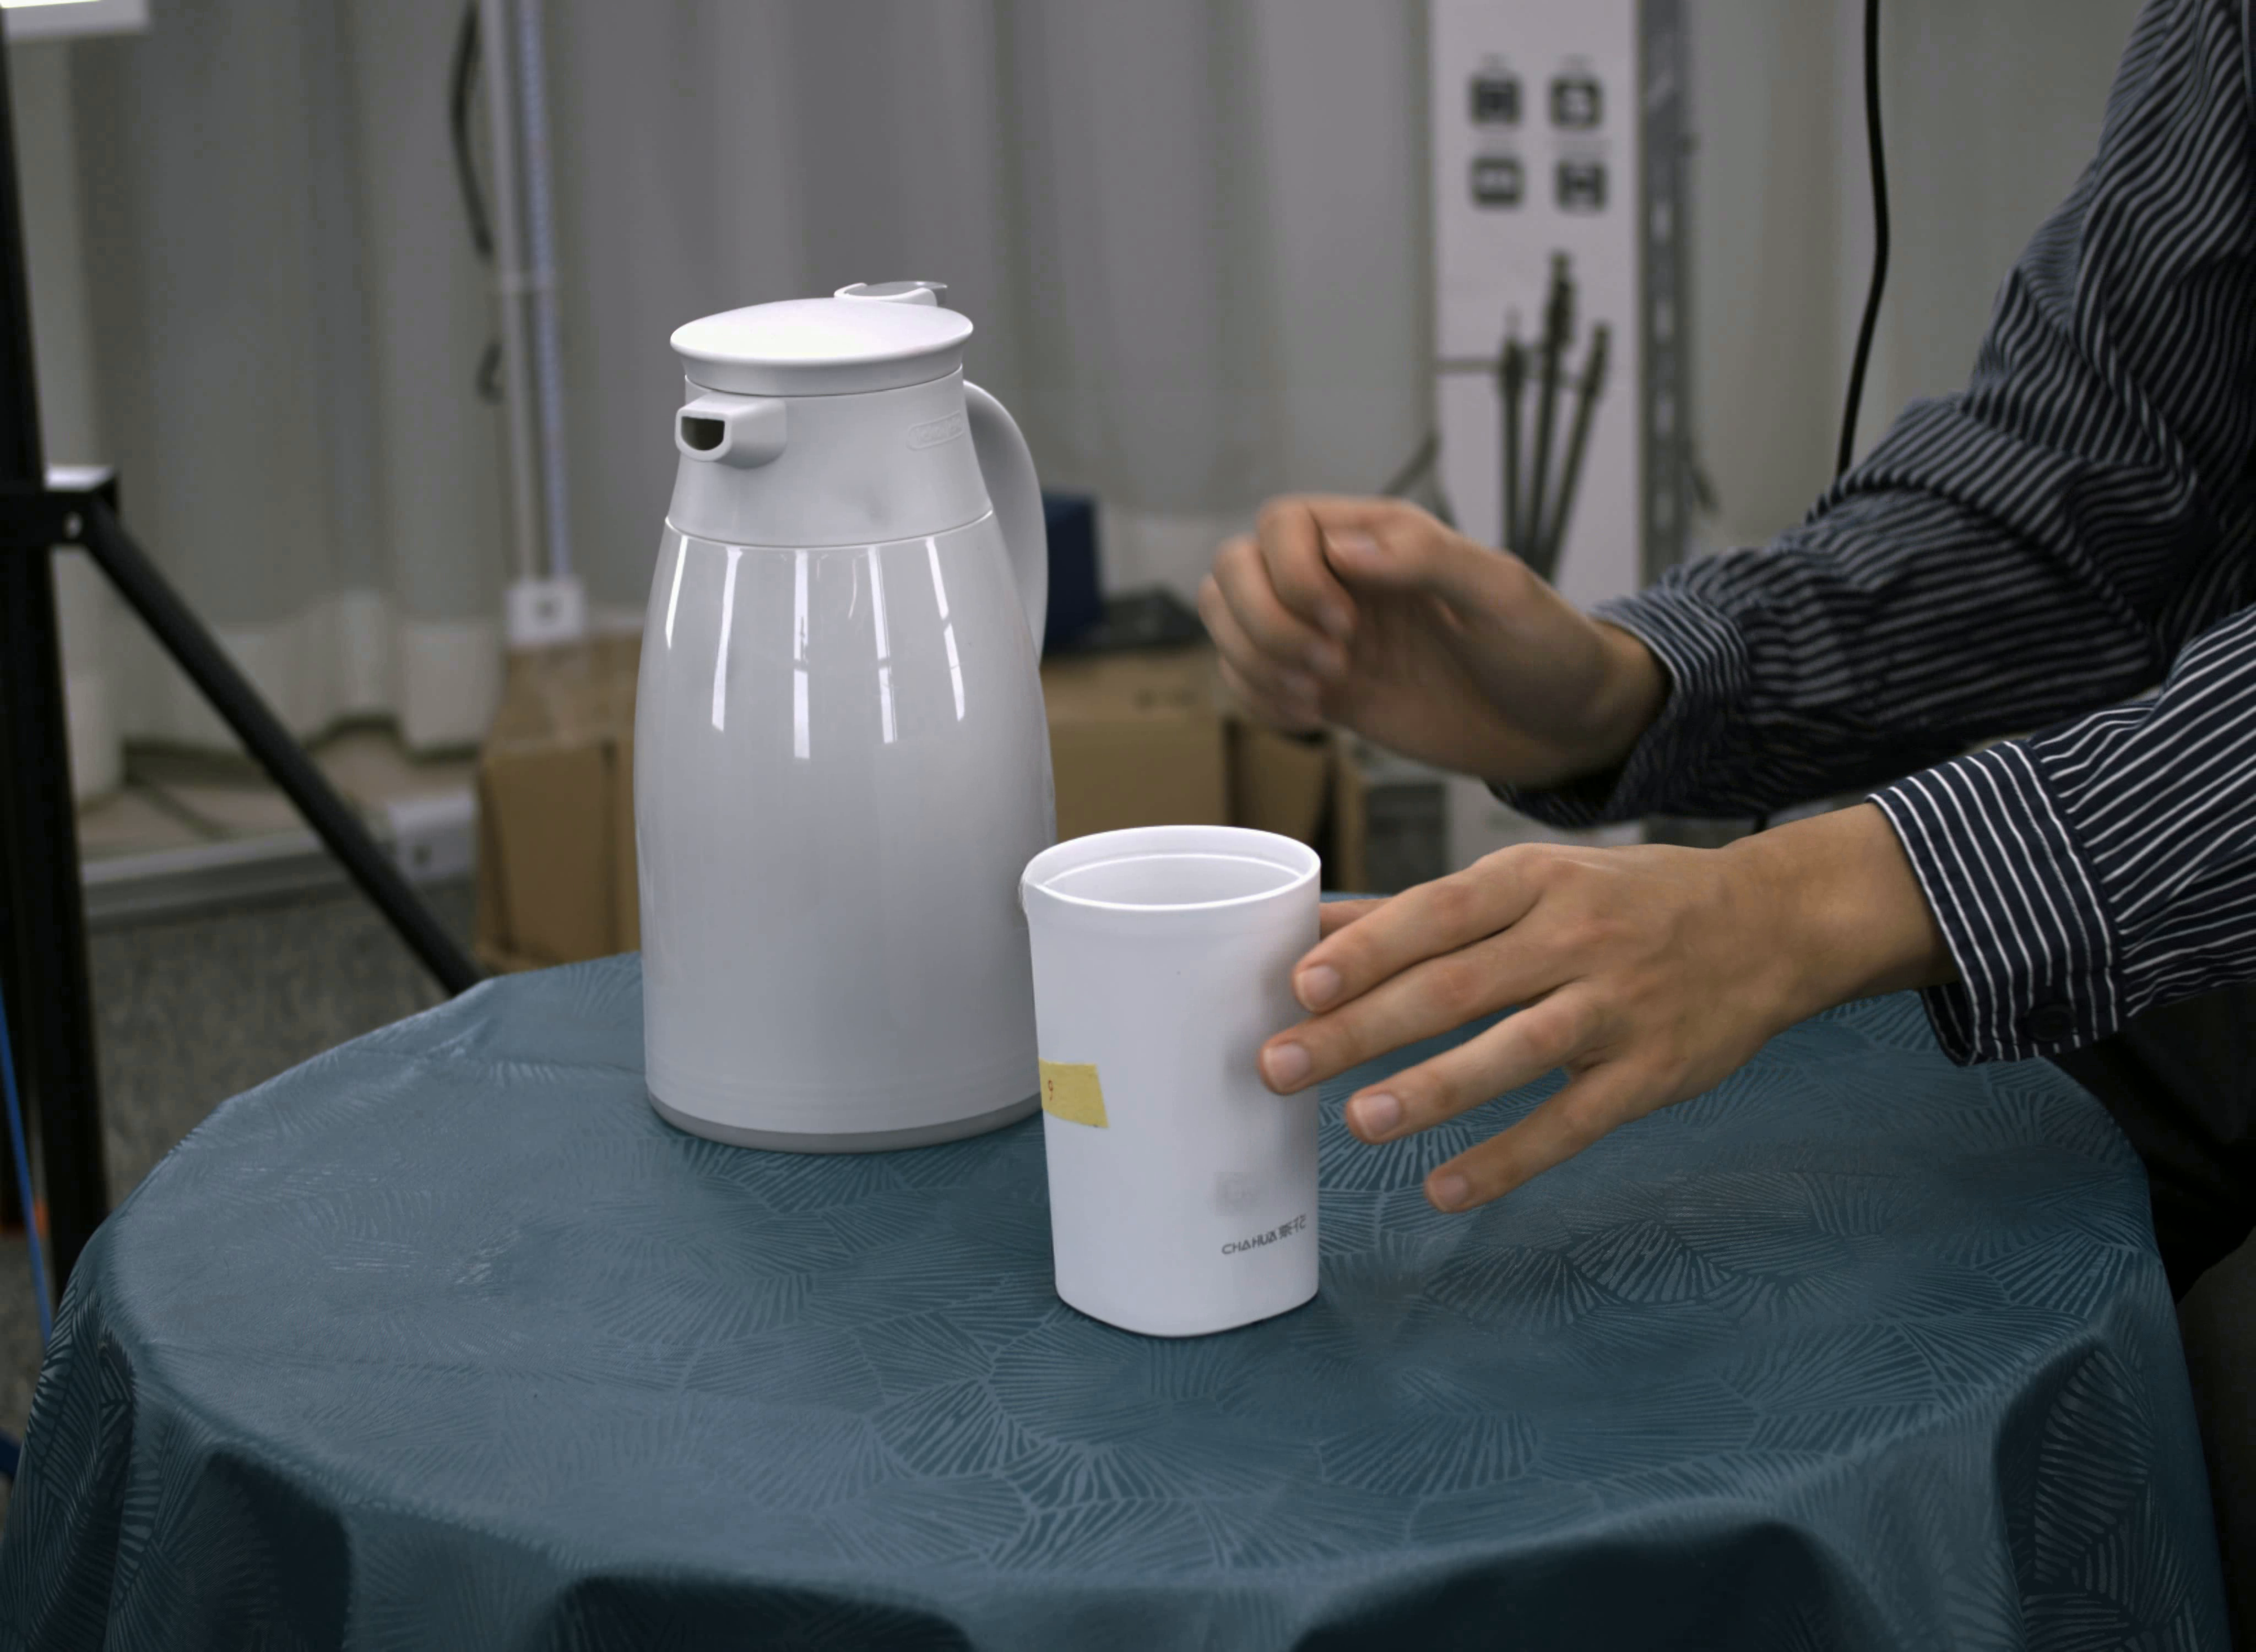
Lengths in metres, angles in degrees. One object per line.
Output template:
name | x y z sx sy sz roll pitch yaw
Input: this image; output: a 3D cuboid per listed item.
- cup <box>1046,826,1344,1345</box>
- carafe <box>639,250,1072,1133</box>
cup | 0.020 0.071 1.452 0.081 0.125 0.082 -2 15 -1
carafe | -0.081 -0.050 1.658 0.134 0.248 0.165 4 18 27
